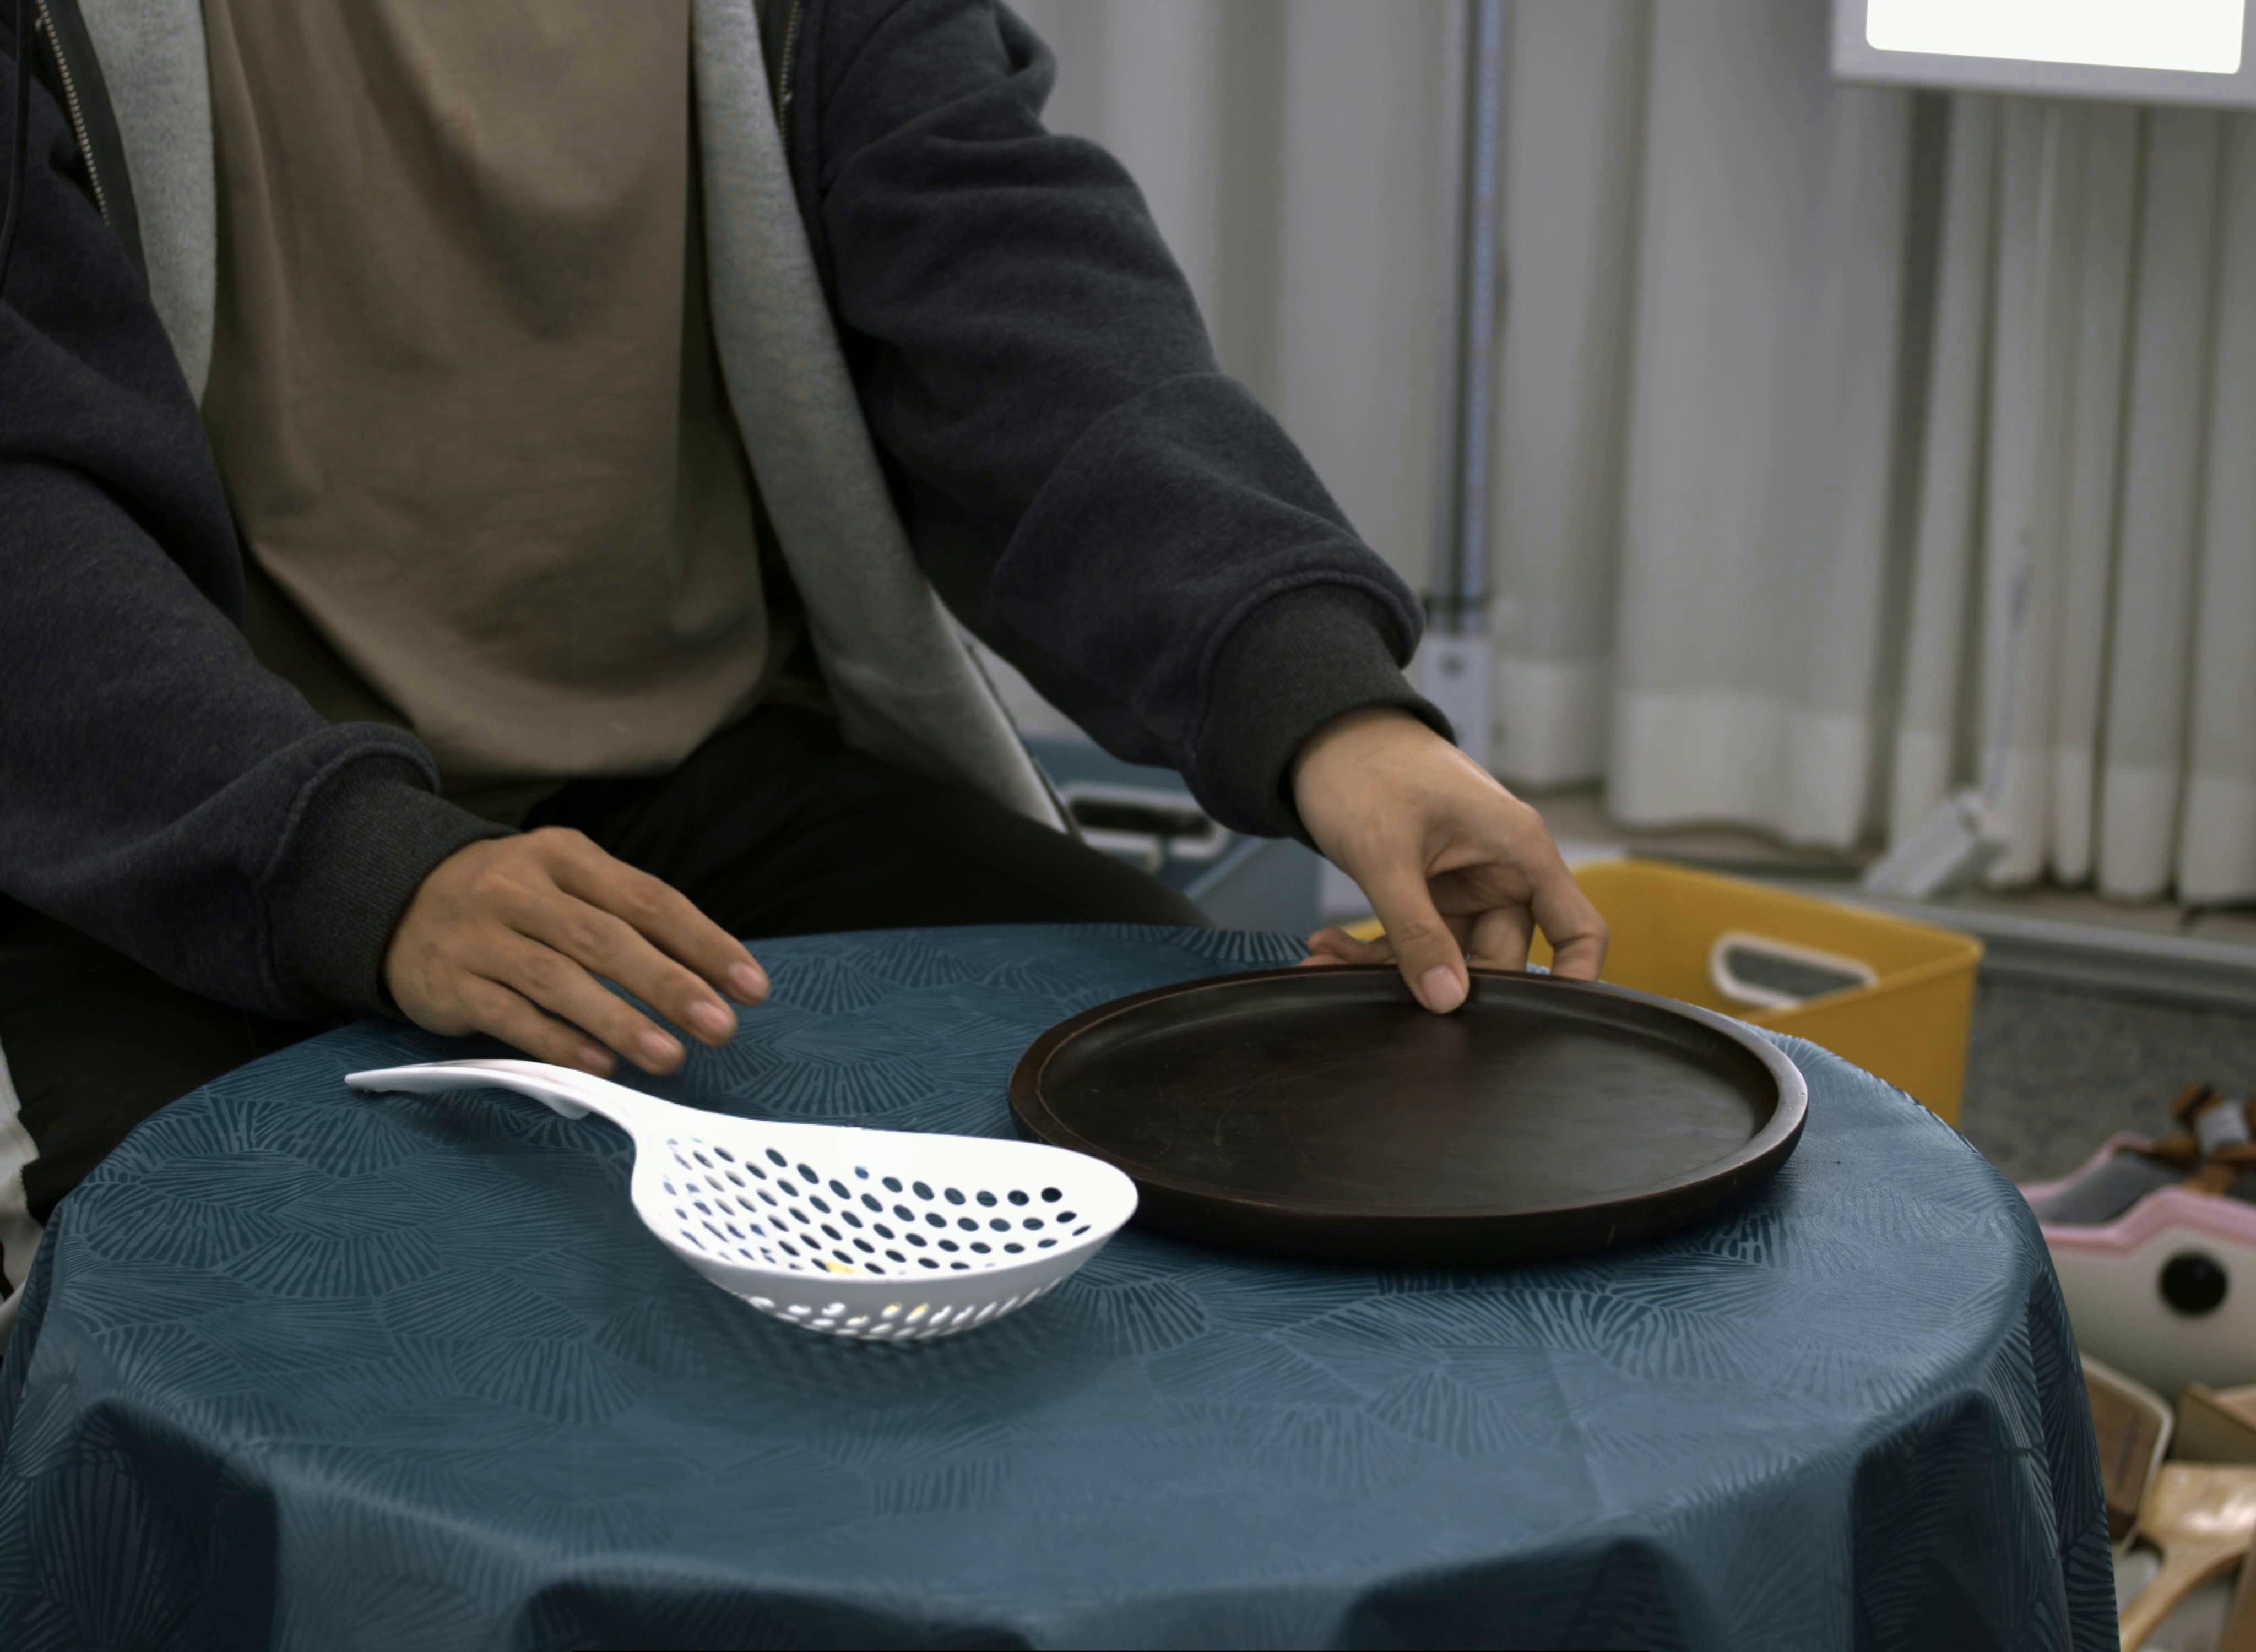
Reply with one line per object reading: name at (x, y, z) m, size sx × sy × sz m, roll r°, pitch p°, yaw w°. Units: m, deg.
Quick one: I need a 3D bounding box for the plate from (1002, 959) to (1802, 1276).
plate at (0.086, 0.090, 1.662) m, size 0.254 × 0.029 × 0.253 m, roll 0°, pitch 16°, yaw 1°

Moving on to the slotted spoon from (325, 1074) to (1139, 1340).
slotted spoon at (-0.137, 0.101, 1.582) m, size 0.137 × 0.051 × 0.343 m, roll -15°, pitch 22°, yaw -39°
